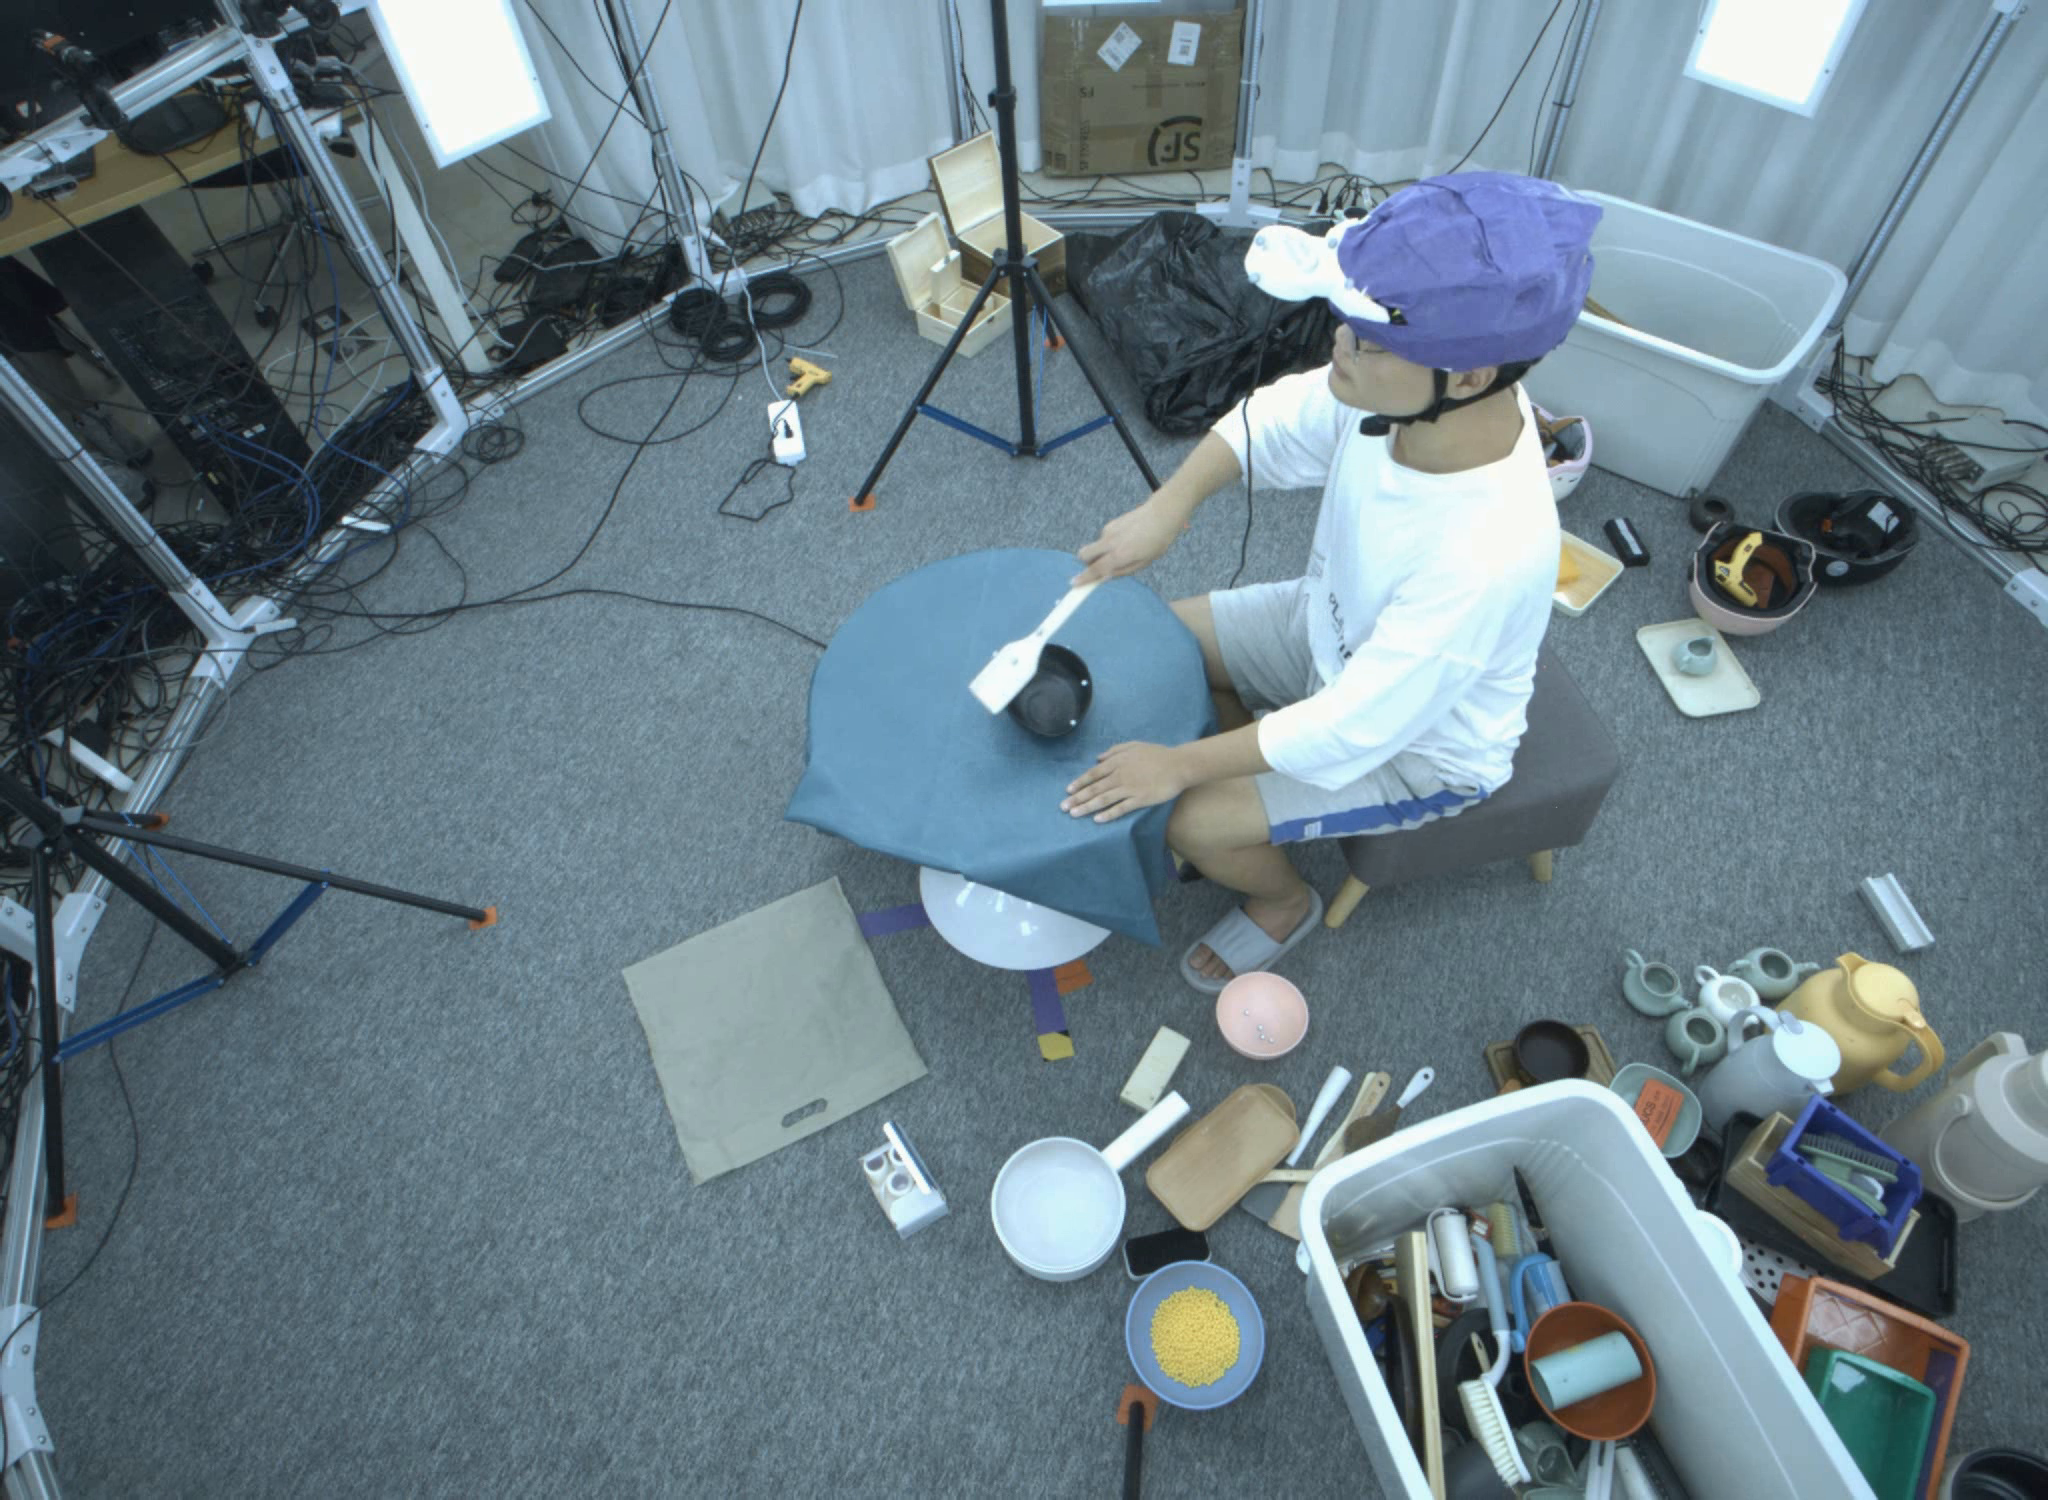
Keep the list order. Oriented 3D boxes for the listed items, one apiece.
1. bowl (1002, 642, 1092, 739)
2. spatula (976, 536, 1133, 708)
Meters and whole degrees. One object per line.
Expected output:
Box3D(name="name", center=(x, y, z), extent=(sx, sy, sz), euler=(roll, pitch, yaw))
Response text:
Box3D(name="bowl", center=(0.031, -0.079, 1.802), extent=(0.138, 0.067, 0.167), euler=(-17, 57, -9))
Box3D(name="spatula", center=(0.046, -0.183, 1.700), extent=(0.292, 0.011, 0.071), euler=(-48, 57, 5))
